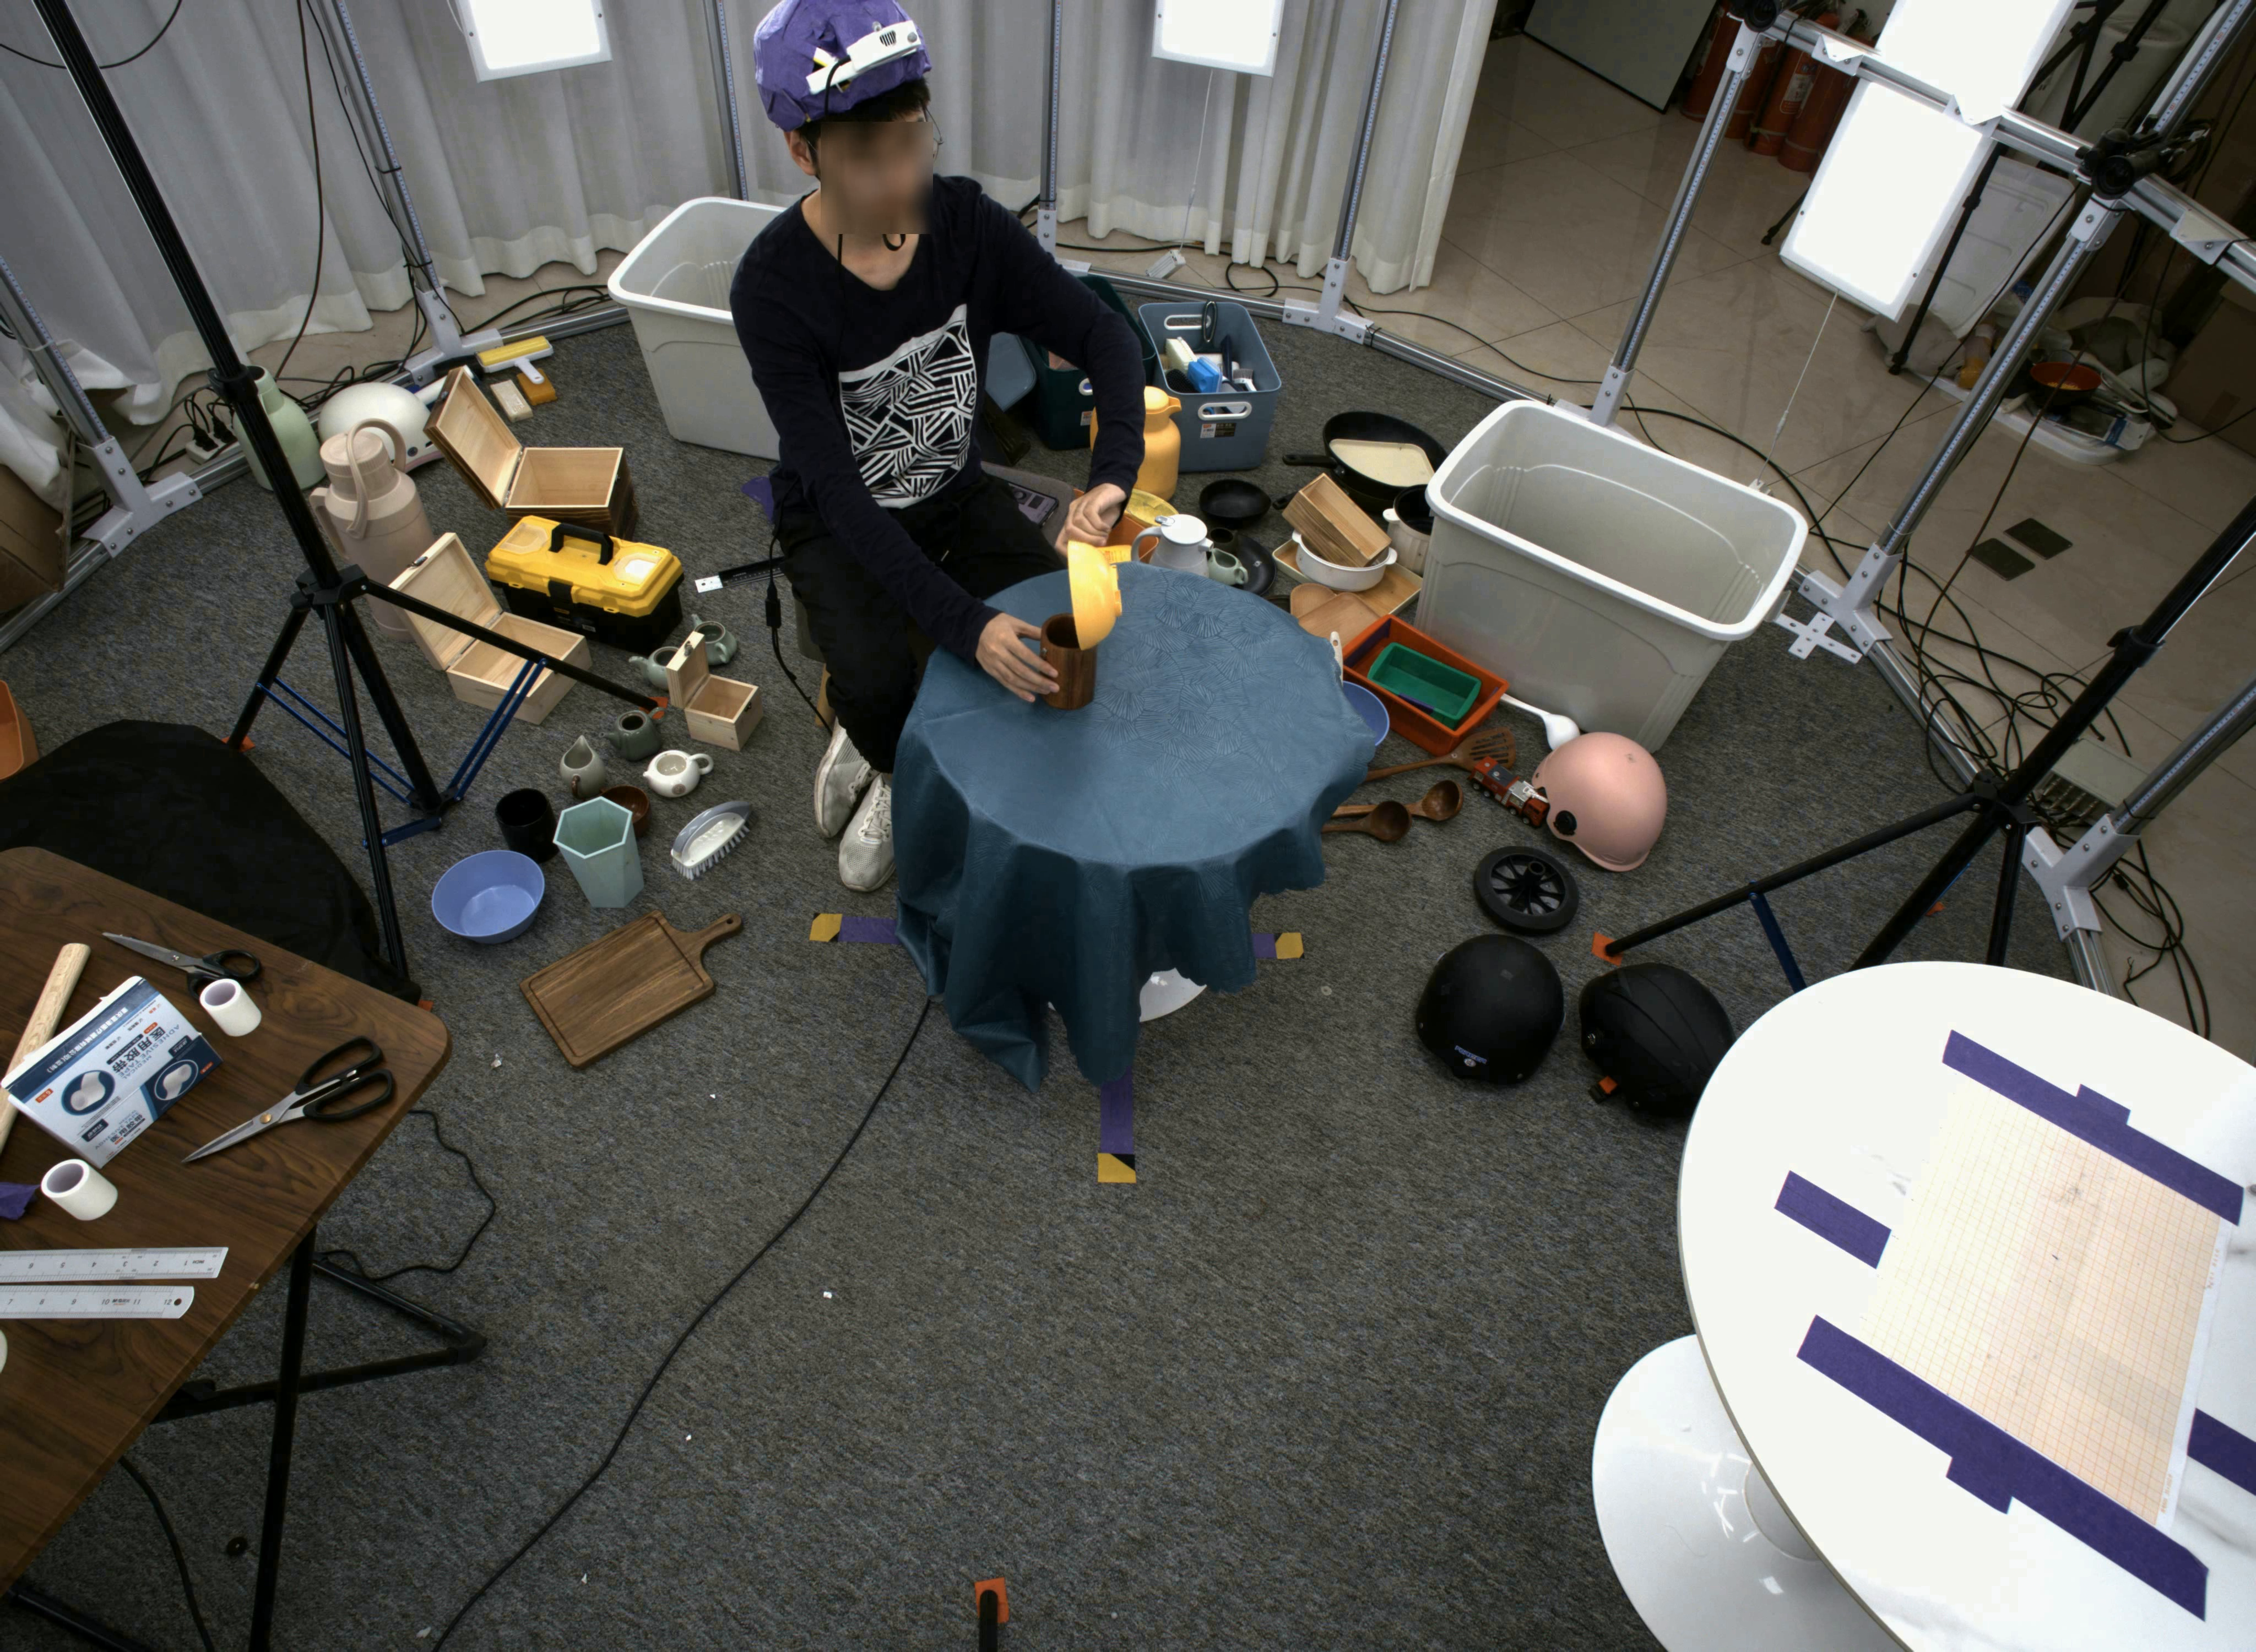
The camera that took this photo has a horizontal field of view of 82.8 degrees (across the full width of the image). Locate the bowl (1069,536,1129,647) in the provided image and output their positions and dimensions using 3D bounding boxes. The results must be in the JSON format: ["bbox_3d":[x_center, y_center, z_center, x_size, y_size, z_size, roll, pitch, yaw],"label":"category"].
[{"bbox_3d":[-0.034,-0.313,1.696,0.060,0.142,0.149,-6,48,10],"label":"bowl"}]

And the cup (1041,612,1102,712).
[{"bbox_3d":[-0.080,-0.228,1.784,0.087,0.115,0.090,4,46,-4],"label":"cup"}]
